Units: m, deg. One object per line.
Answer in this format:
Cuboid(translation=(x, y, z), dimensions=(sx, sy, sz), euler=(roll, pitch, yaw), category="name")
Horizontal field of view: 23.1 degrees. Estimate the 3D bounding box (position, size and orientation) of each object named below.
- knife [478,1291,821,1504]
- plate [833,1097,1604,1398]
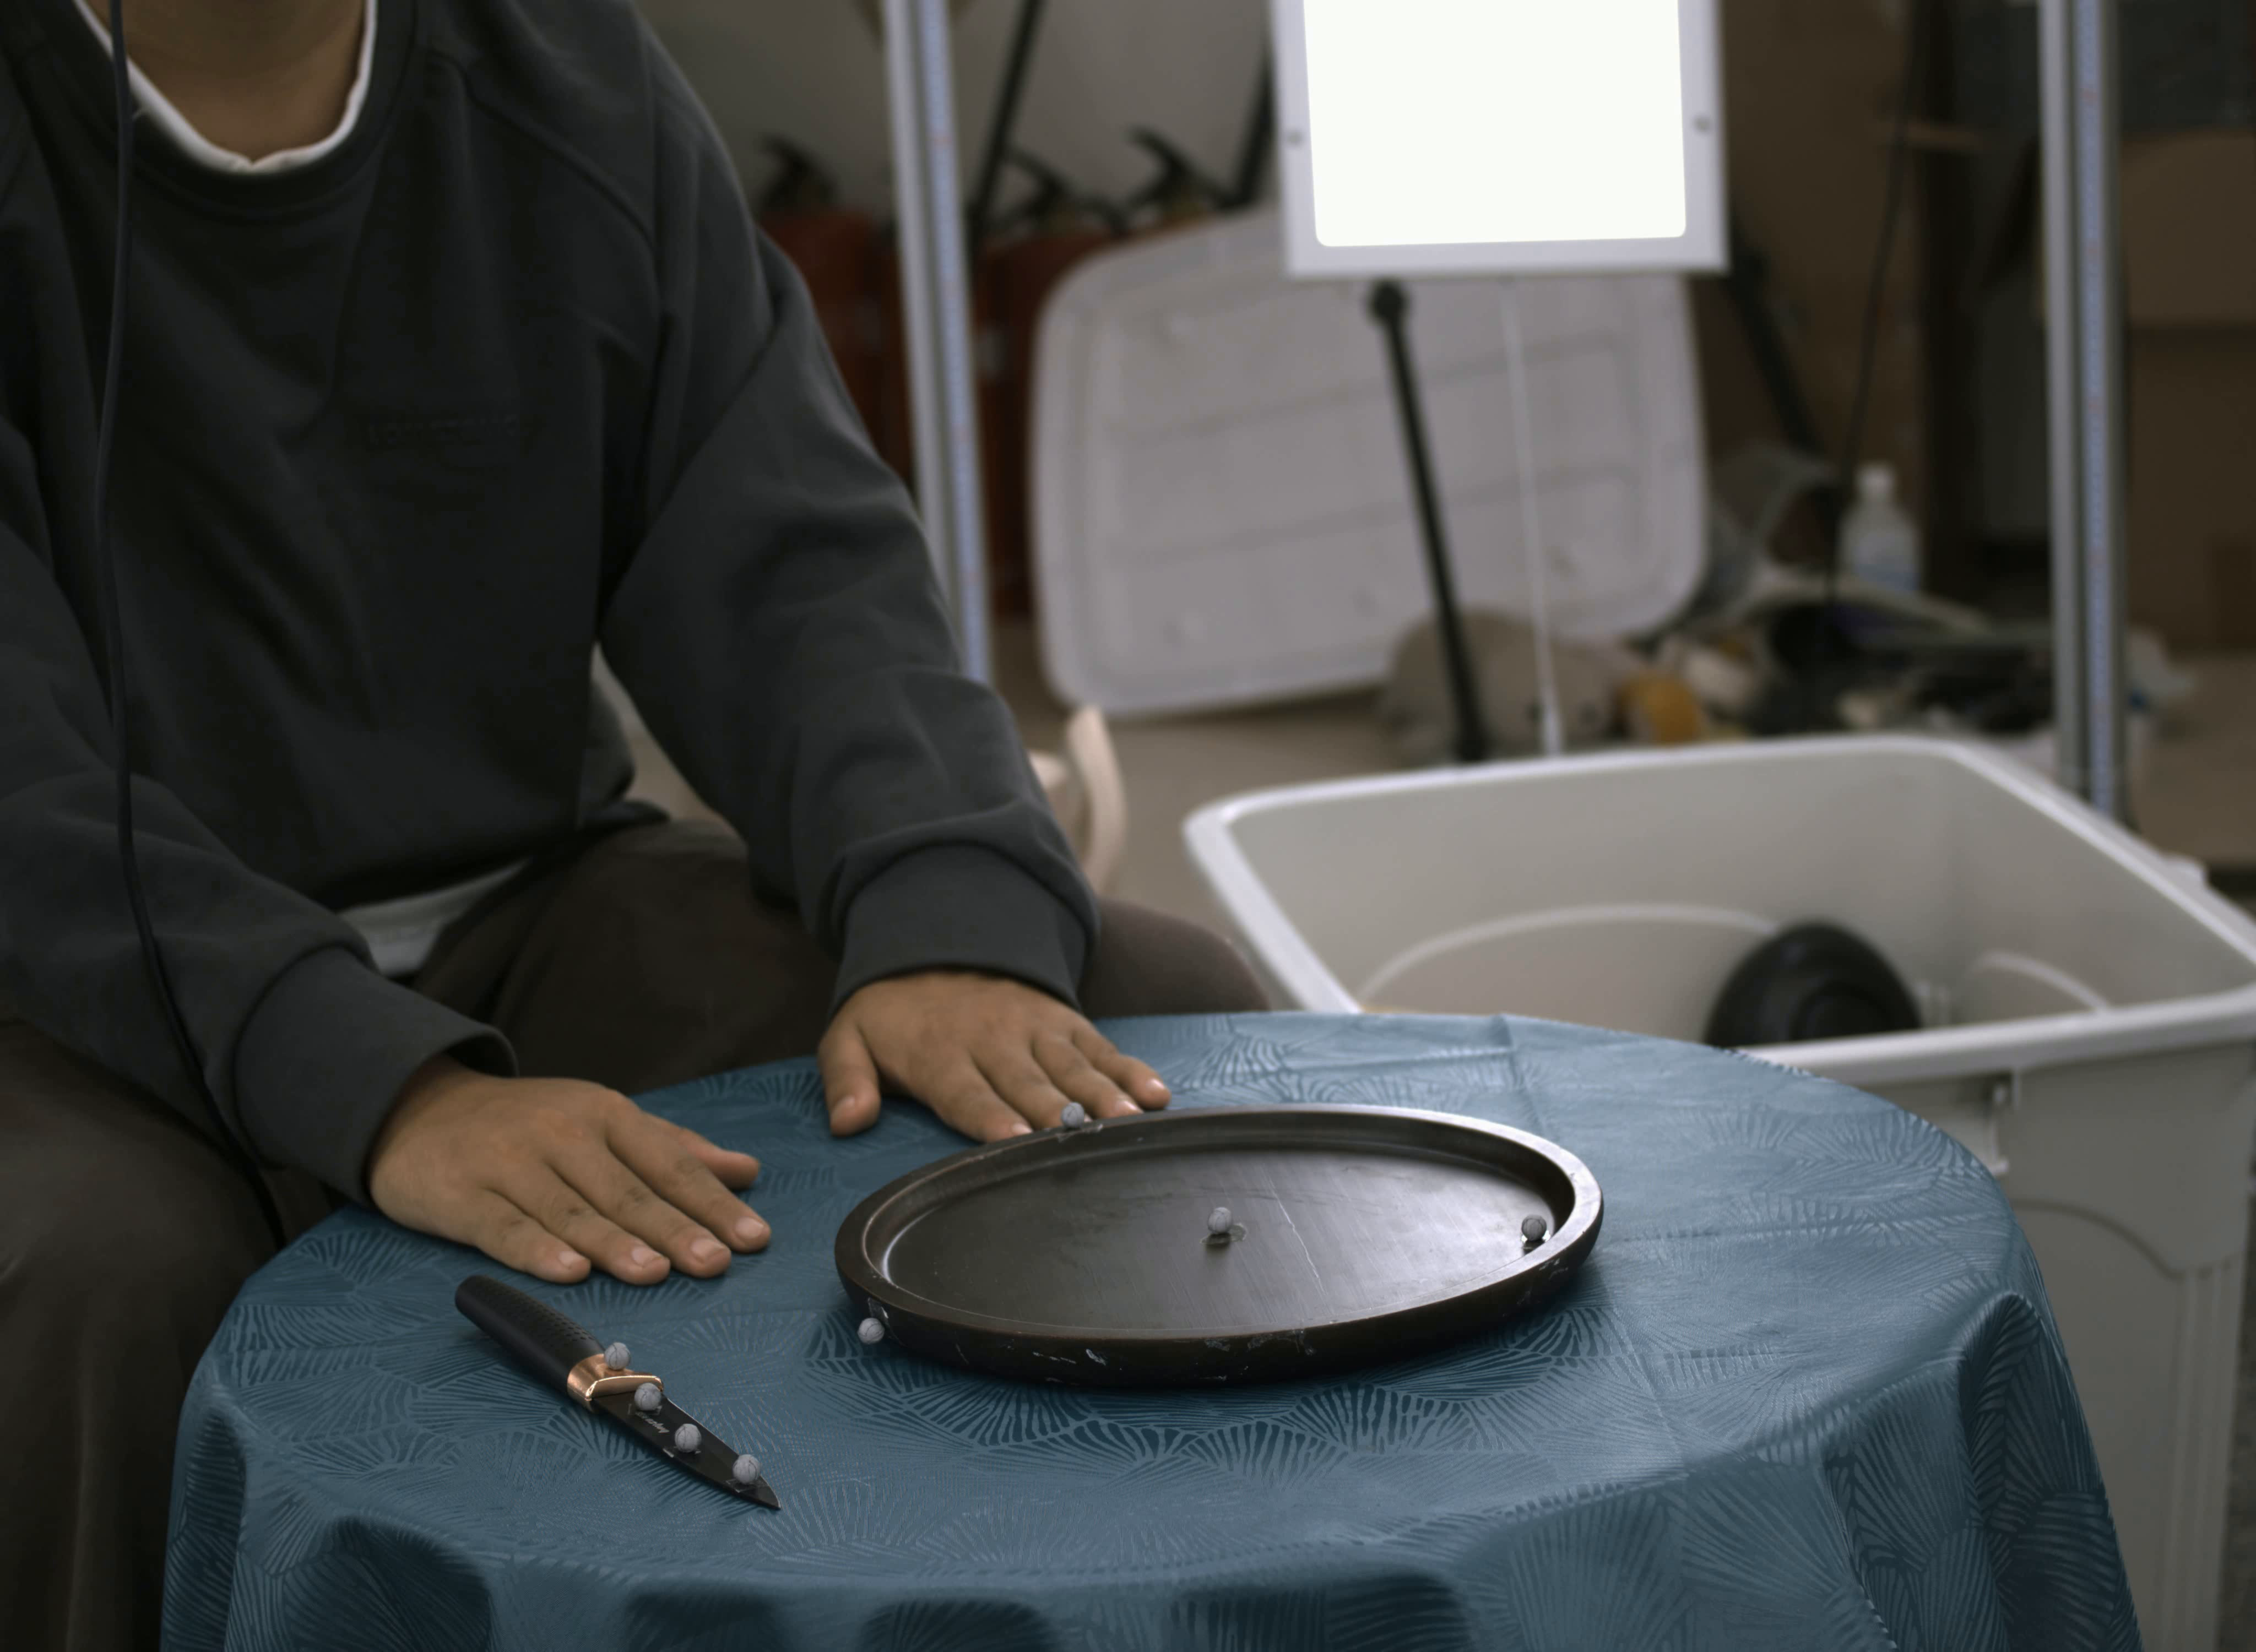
Cuboid(translation=(-0.152, 0.178, 1.718), dimensions=(0.025, 0.017, 0.229), euler=(-5, 13, -28), category="knife")
Cuboid(translation=(0.030, 0.136, 1.801), dimensions=(0.254, 0.029, 0.254), euler=(-6, 13, 0), category="plate")
